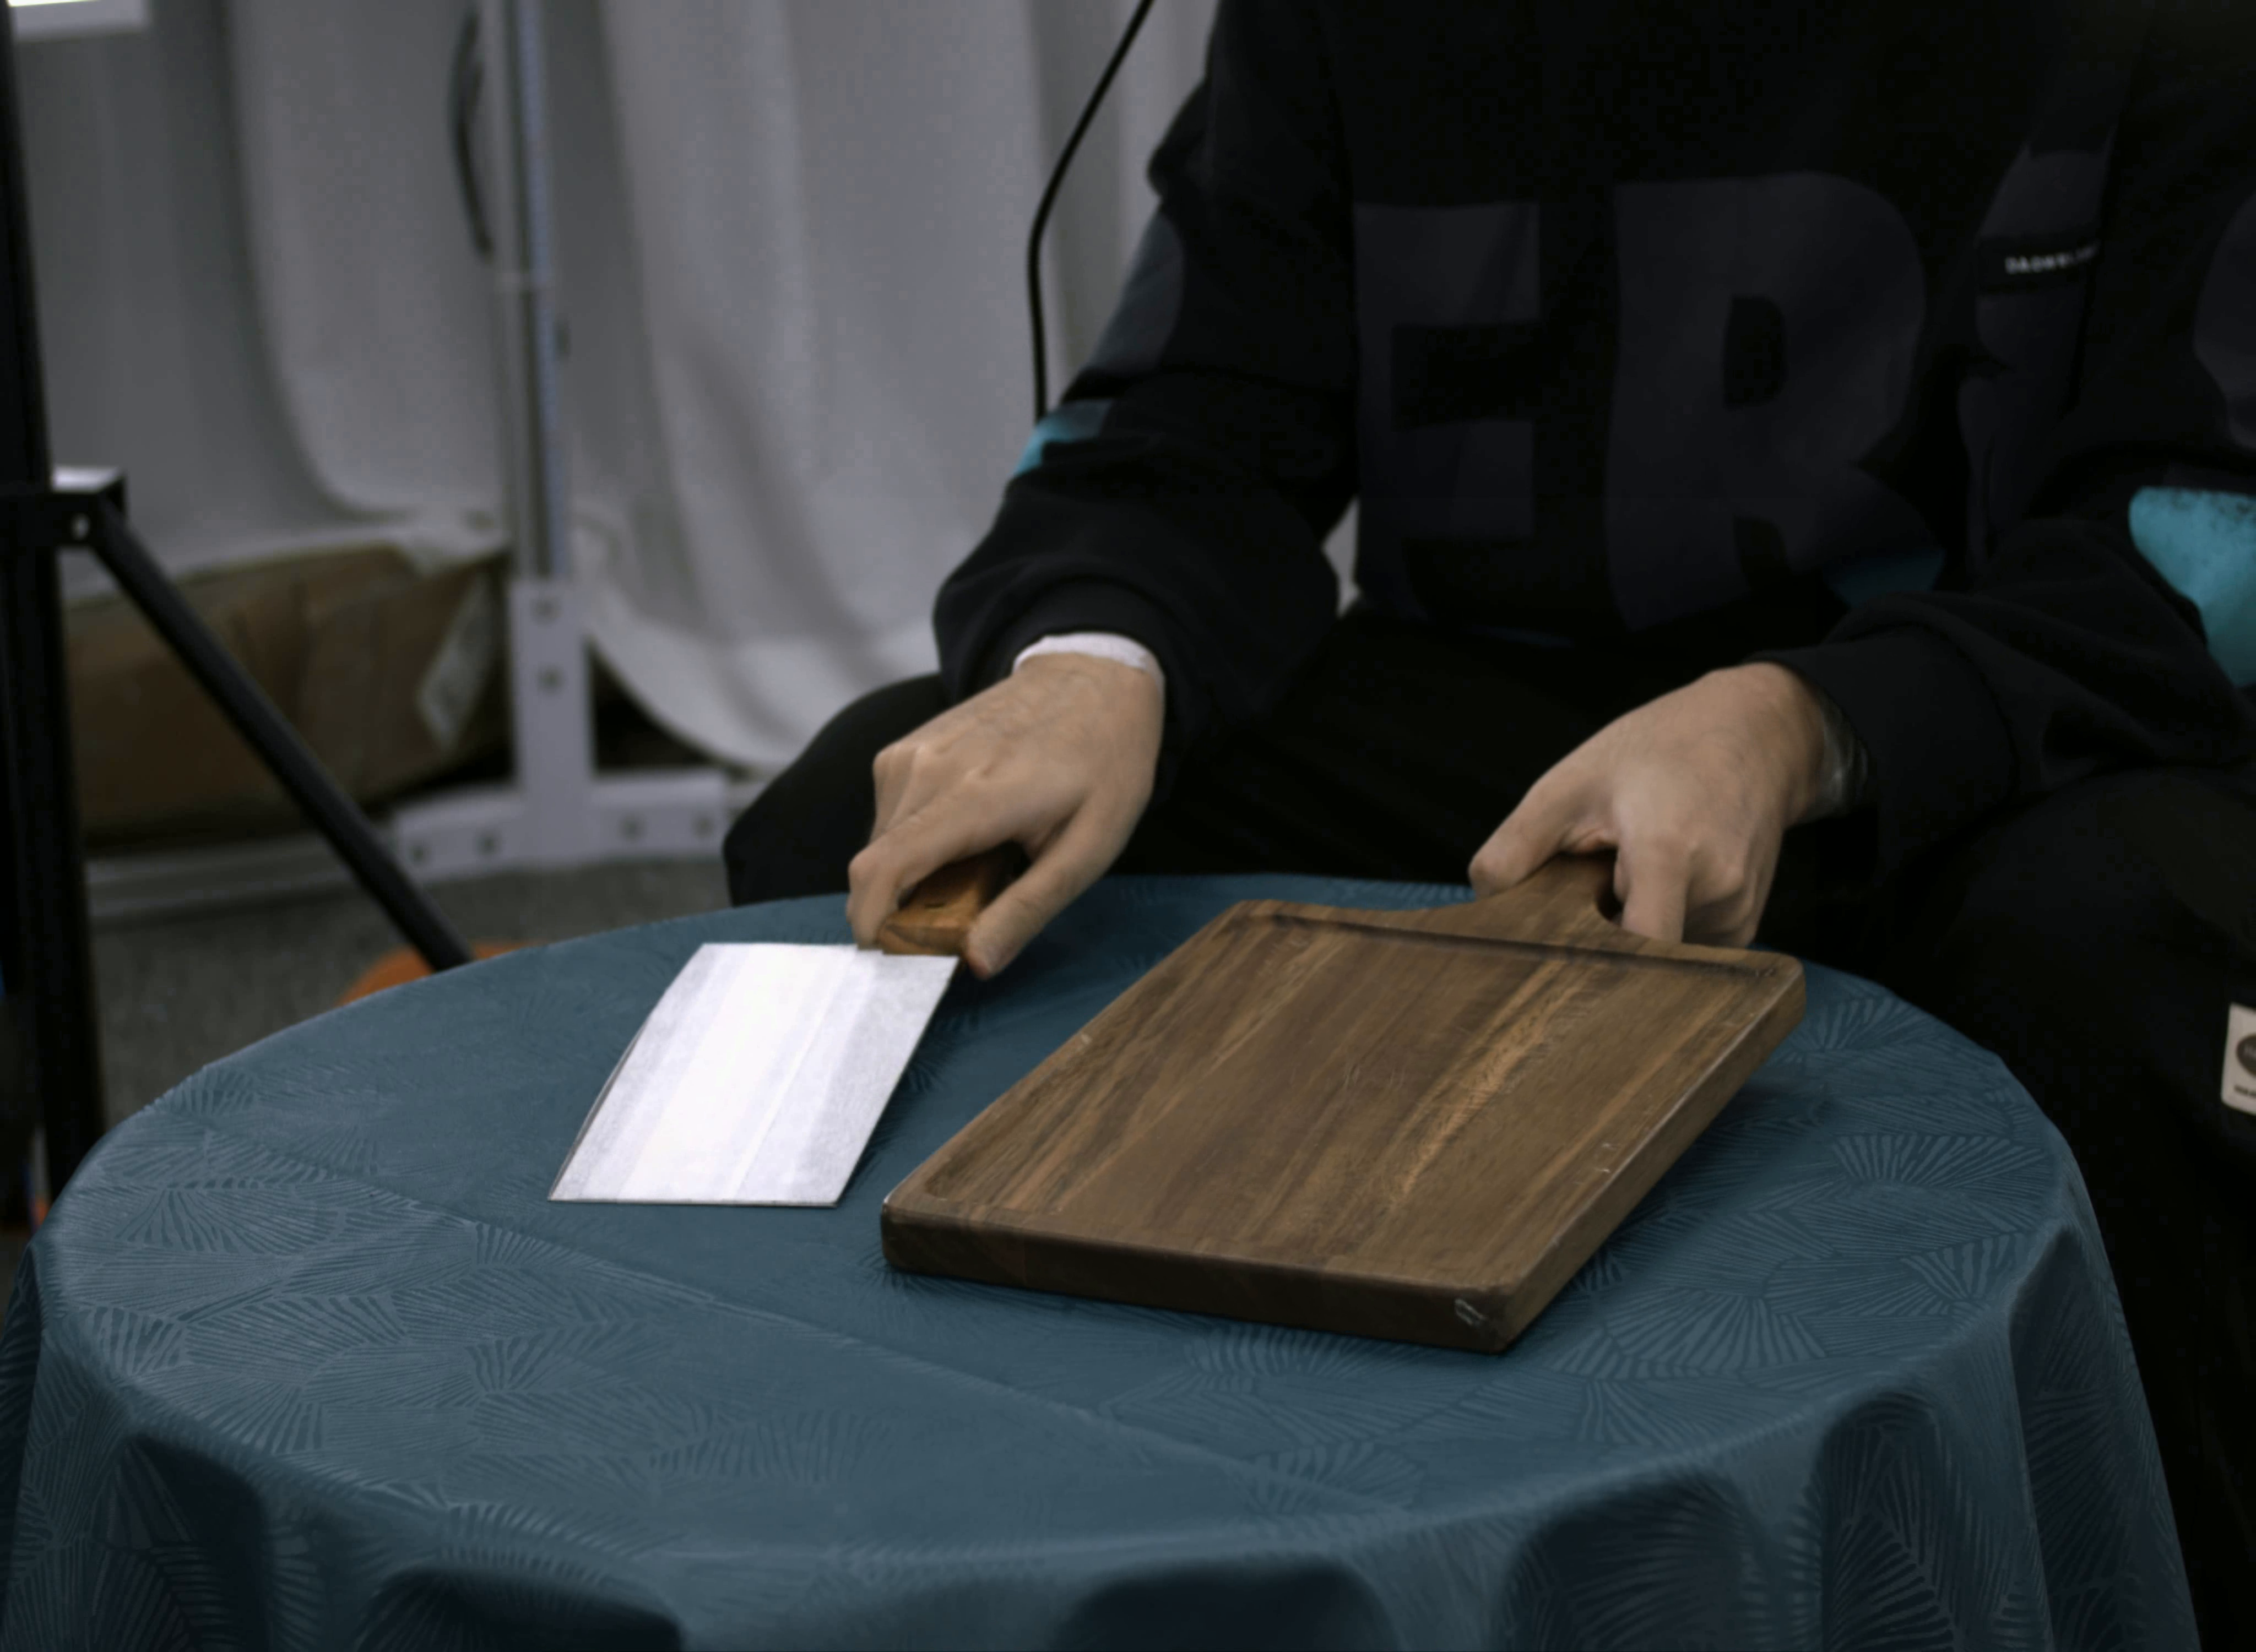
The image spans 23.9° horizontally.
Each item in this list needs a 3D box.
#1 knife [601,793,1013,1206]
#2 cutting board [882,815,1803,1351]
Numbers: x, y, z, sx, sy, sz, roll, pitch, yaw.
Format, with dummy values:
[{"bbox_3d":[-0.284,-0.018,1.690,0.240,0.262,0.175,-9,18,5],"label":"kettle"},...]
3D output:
[{"bbox_3d":[-0.102,0.053,1.705,0.093,0.021,0.305,0,22,11],"label":"knife"},{"bbox_3d":[0.089,0.066,1.598,0.204,0.023,0.347,5,22,26],"label":"cutting board"}]
